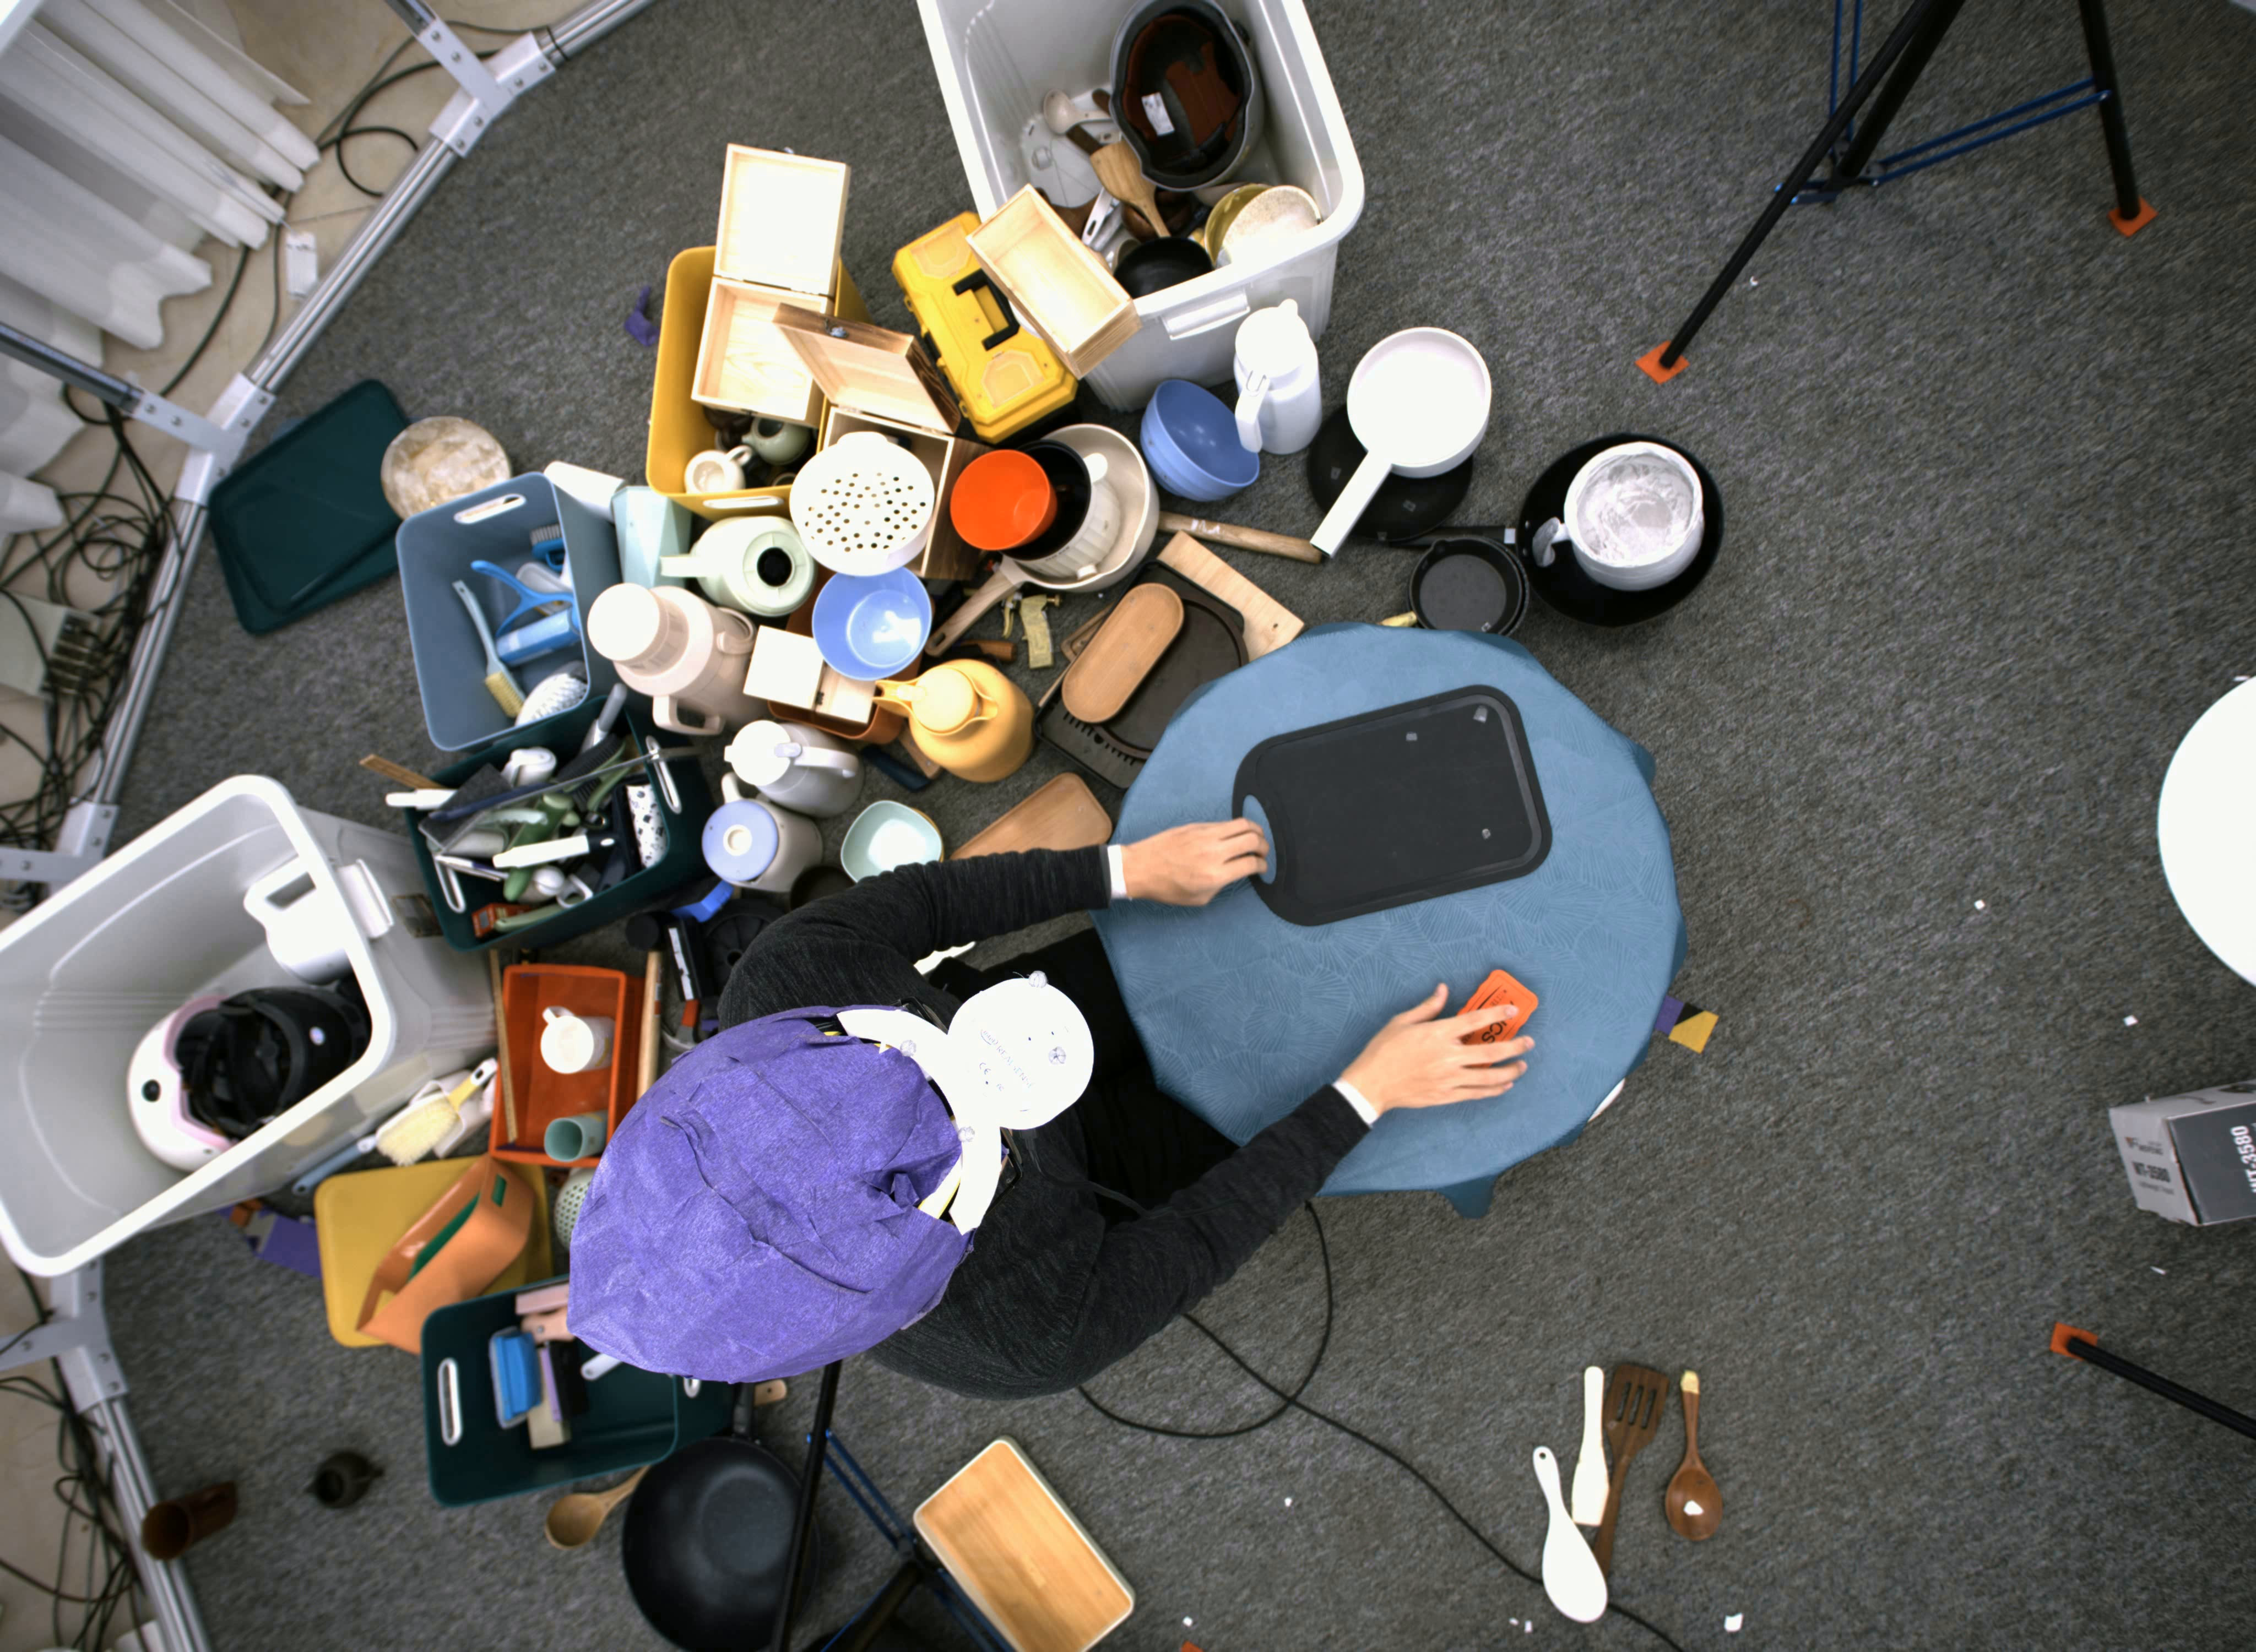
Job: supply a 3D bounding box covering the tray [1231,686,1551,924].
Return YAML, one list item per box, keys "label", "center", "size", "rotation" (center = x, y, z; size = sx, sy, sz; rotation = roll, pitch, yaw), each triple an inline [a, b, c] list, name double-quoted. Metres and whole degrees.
- label: "tray"
  center: [0.272, -0.021, 1.461]
  size: [0.327, 0.010, 0.210]
  rotation: [-14, 84, 10]

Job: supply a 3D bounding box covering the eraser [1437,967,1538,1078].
- label: "eraser"
  center: [0.369, 0.200, 1.415]
  size: [0.059, 0.023, 0.108]
  rotation: [37, 94, 12]
